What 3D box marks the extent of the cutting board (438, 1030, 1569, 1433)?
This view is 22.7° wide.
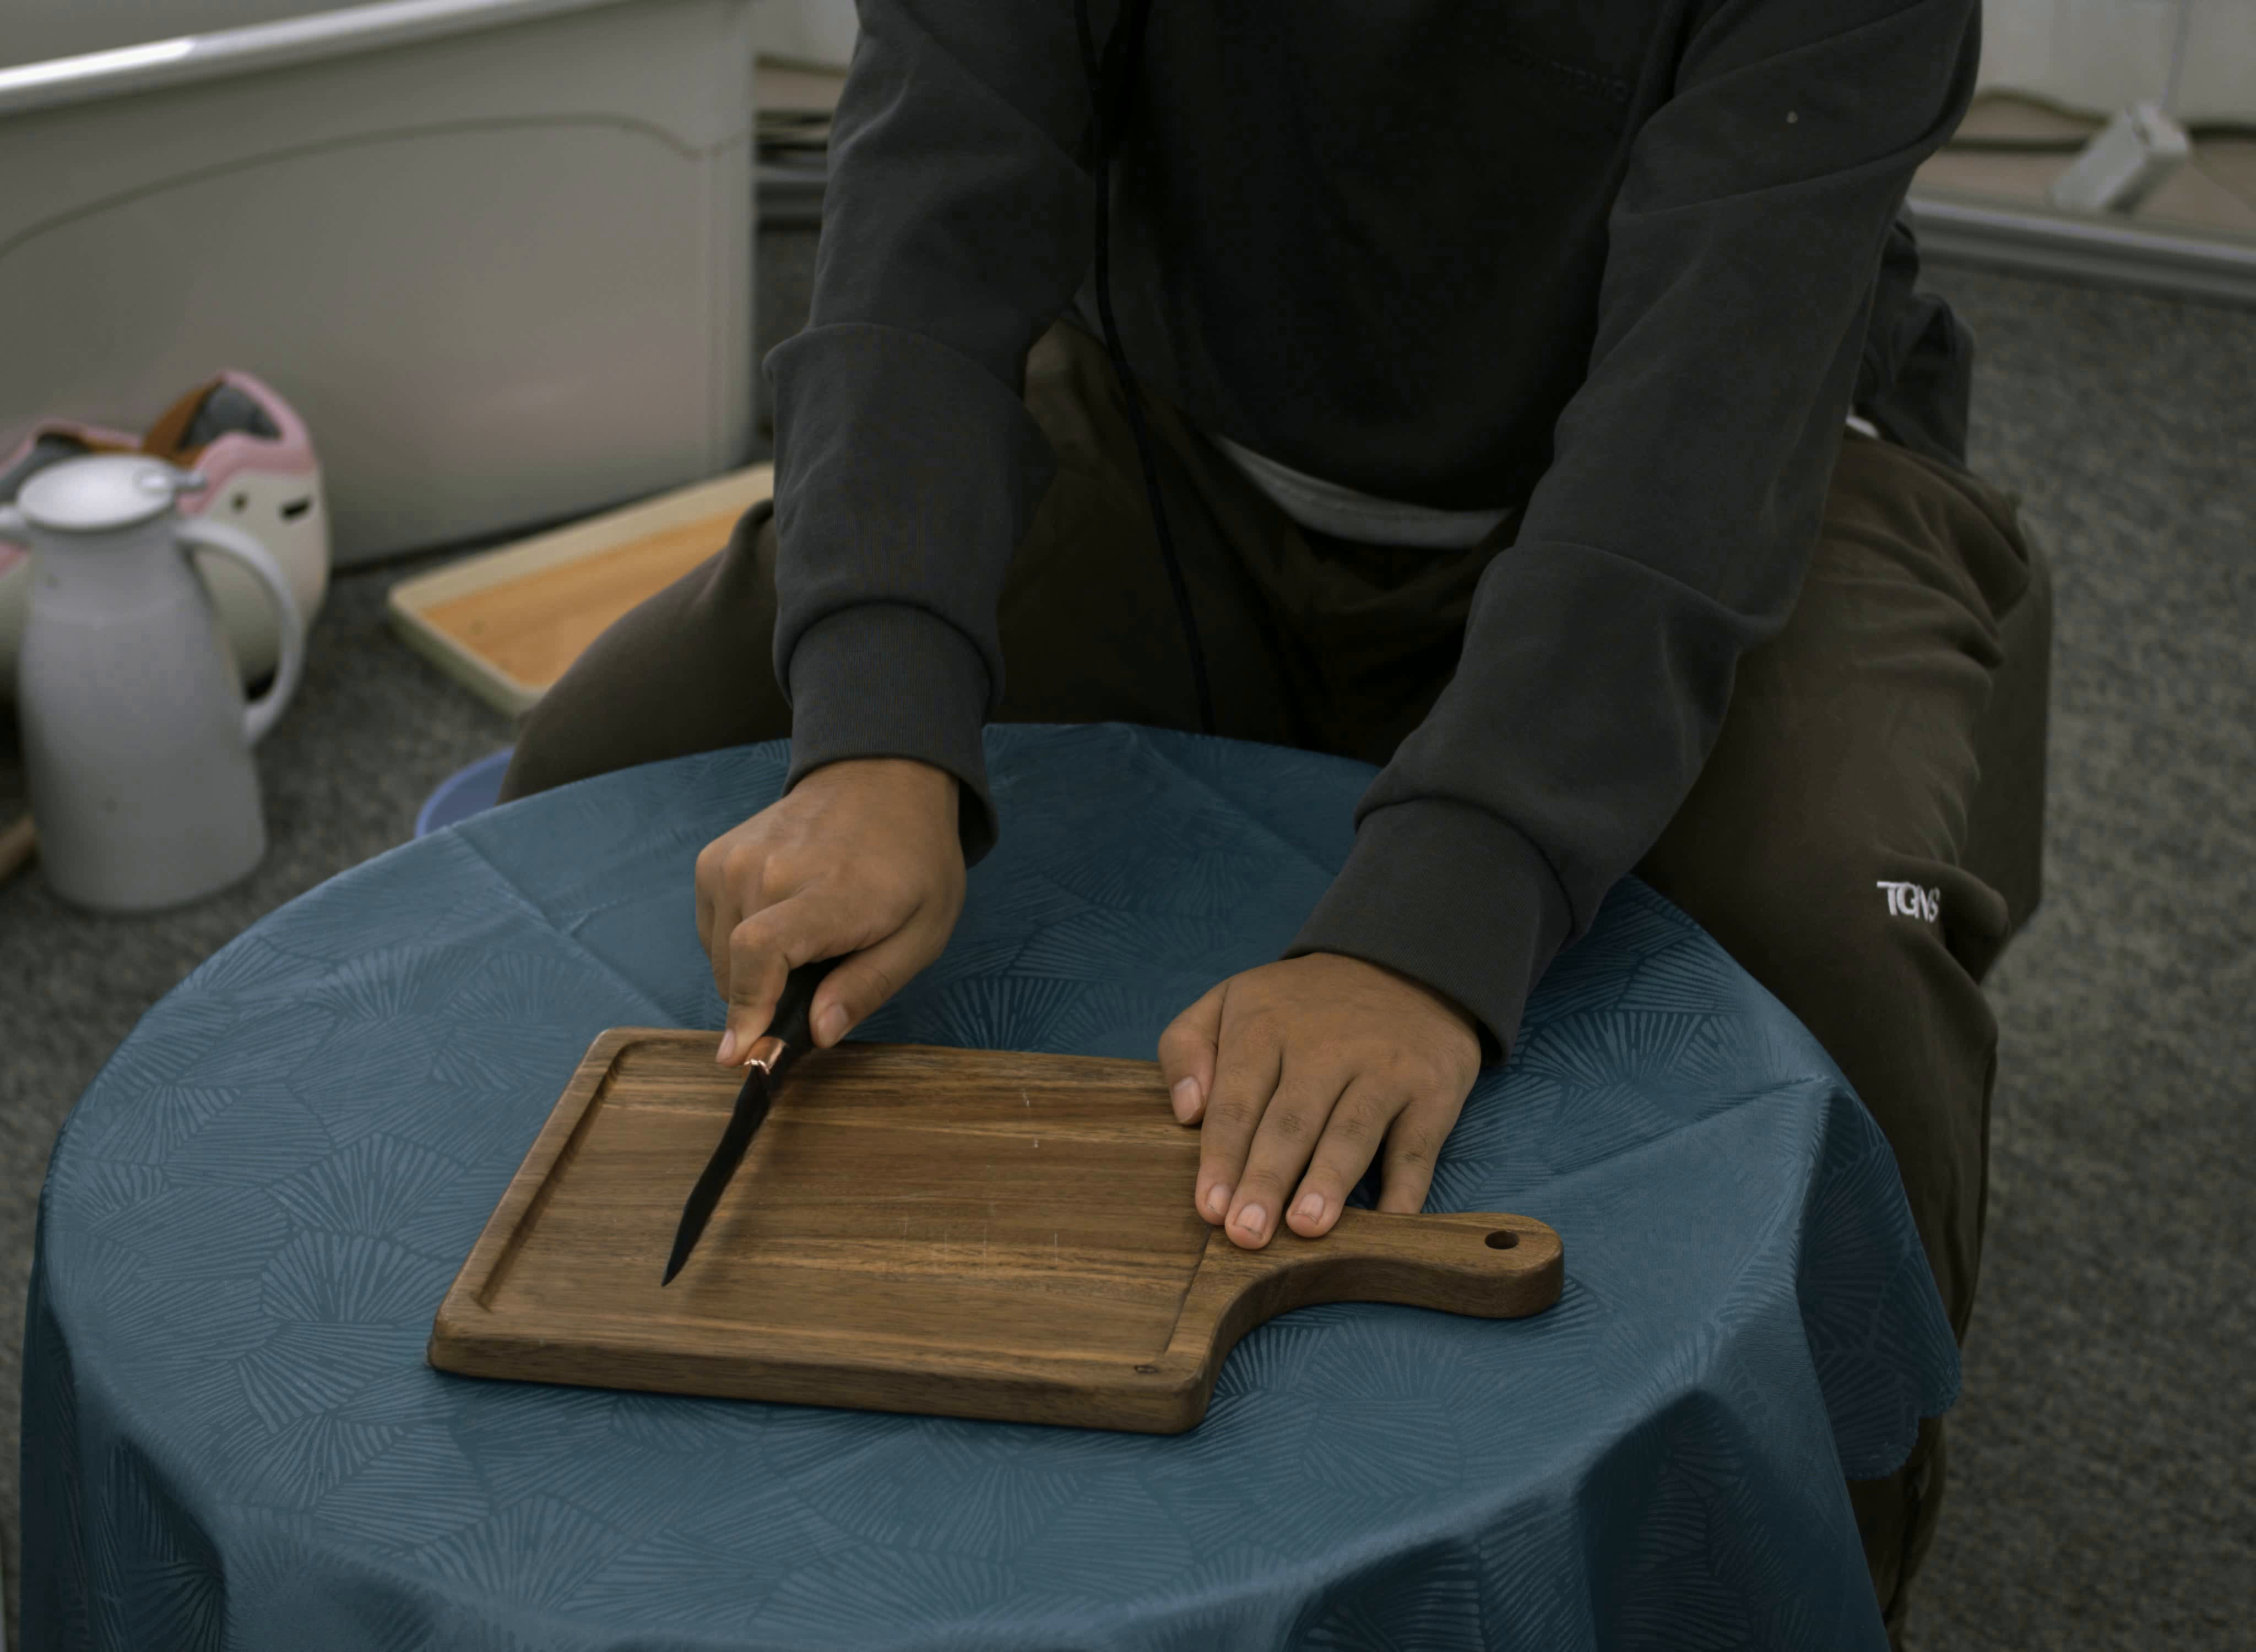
[{"bbox_3d":[-0.032,0.131,1.826,0.350,0.023,0.204,3,28,11],"label":"cutting board"}]

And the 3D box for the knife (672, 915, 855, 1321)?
[{"bbox_3d":[-0.122,0.094,1.868,0.017,0.026,0.229,-6,28,16],"label":"knife"}]
